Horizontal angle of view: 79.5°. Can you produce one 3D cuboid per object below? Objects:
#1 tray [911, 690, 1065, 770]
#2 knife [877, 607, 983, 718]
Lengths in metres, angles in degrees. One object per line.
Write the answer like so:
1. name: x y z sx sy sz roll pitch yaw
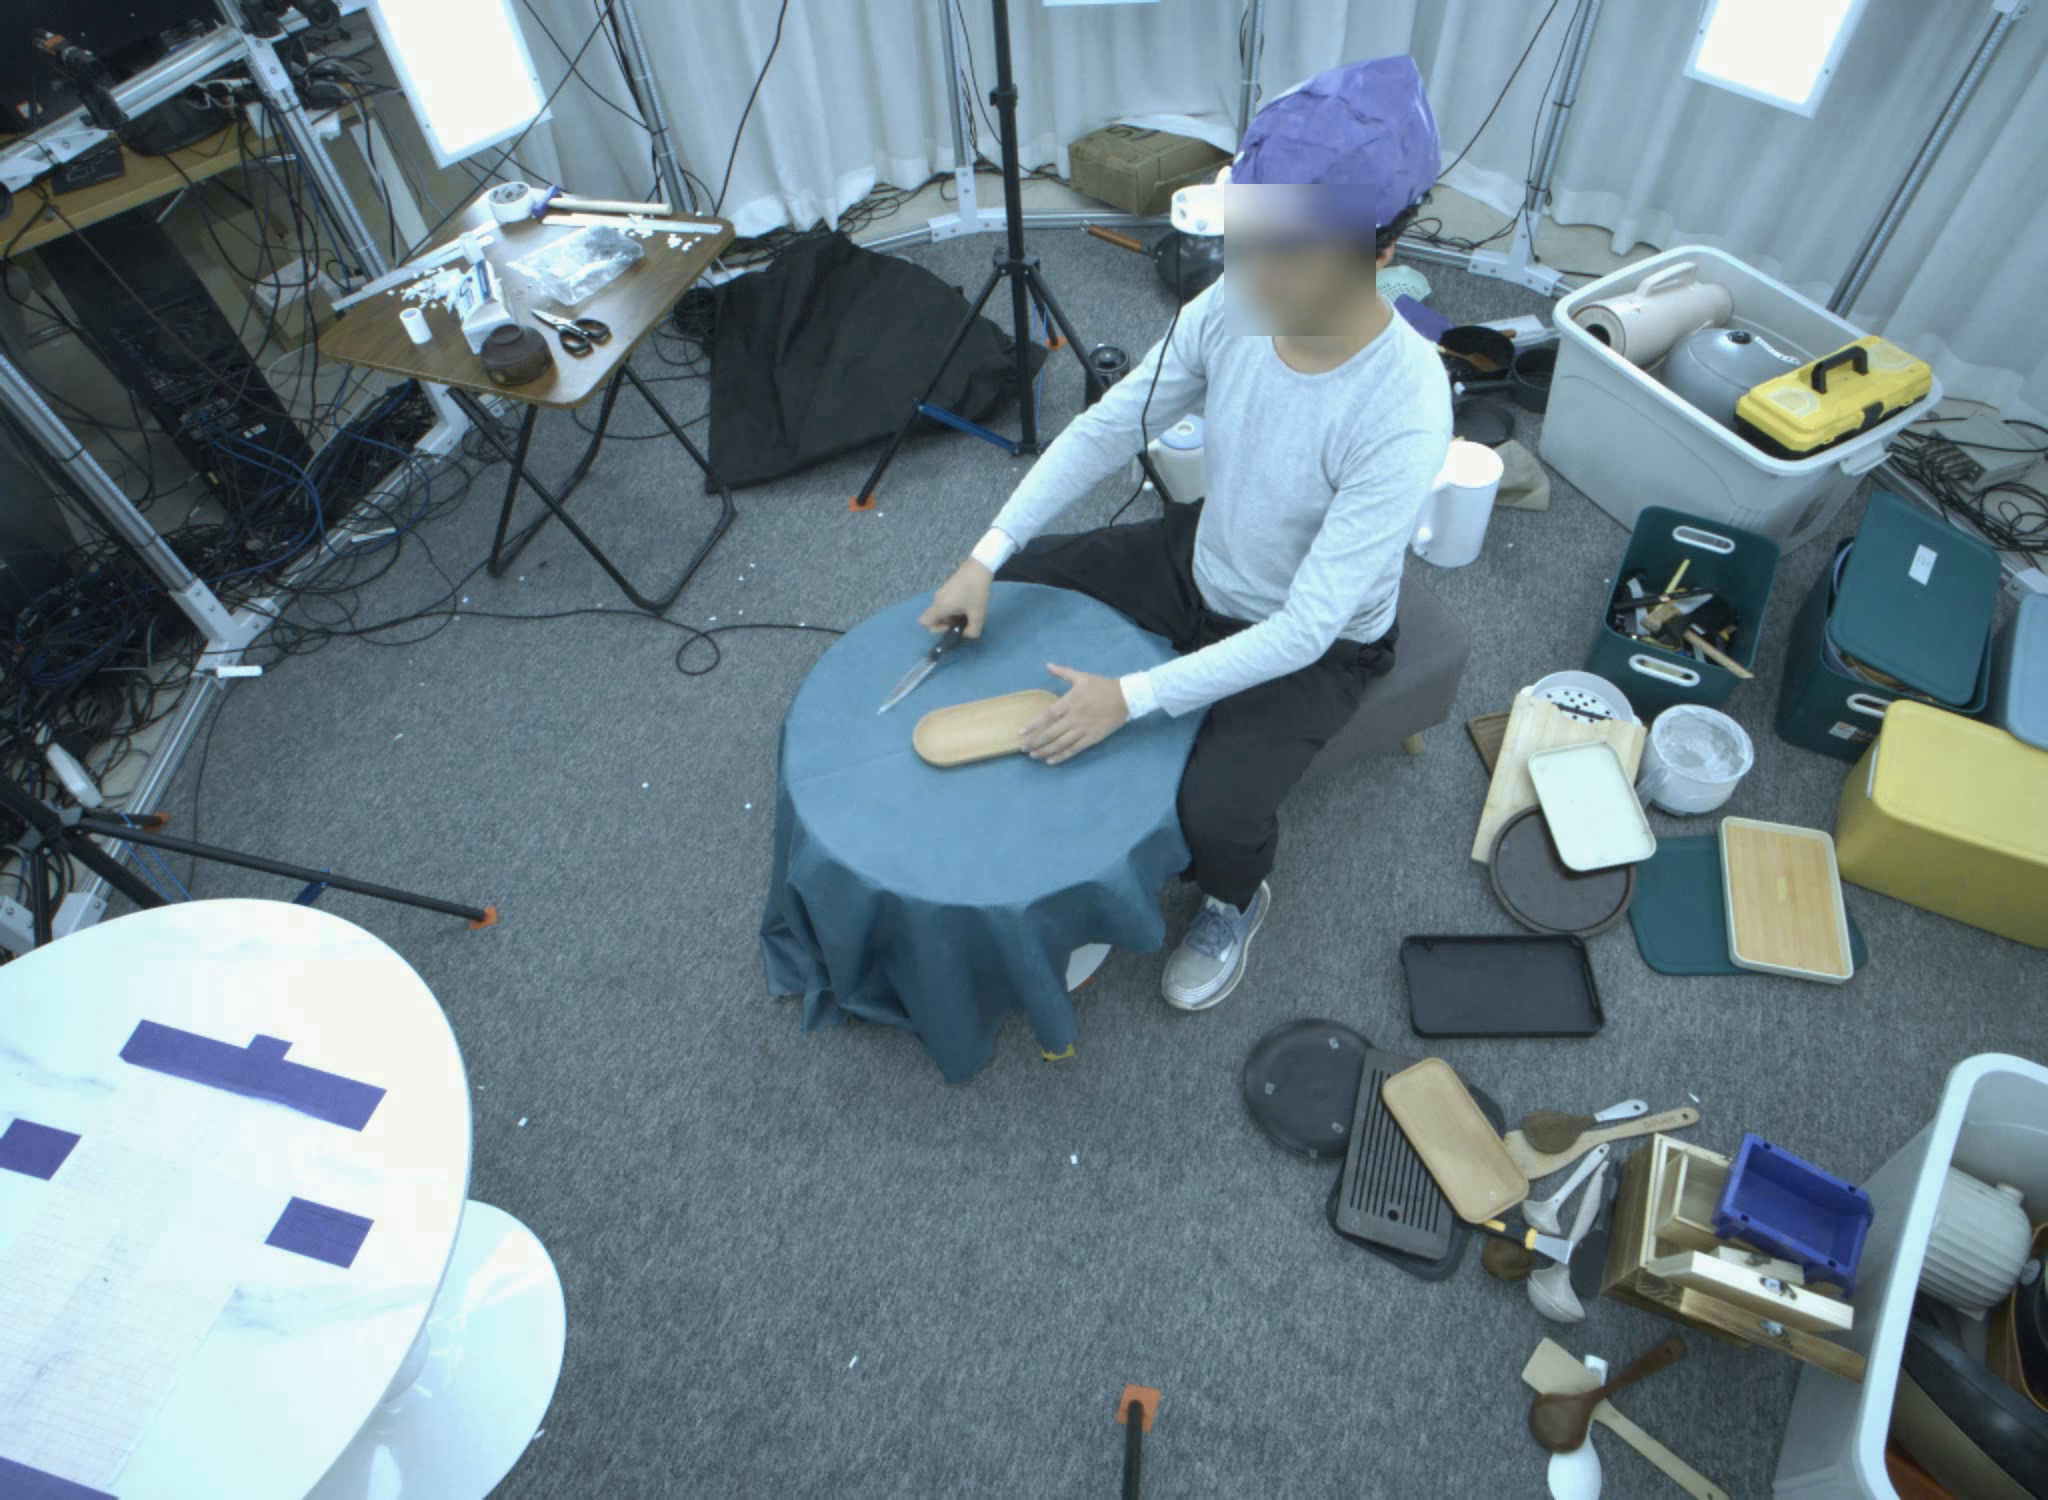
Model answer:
1. tray: -0.052 -0.030 1.808 0.232 0.020 0.100 -14 55 -8
2. knife: -0.146 -0.137 1.872 0.025 0.016 0.239 46 74 -15
